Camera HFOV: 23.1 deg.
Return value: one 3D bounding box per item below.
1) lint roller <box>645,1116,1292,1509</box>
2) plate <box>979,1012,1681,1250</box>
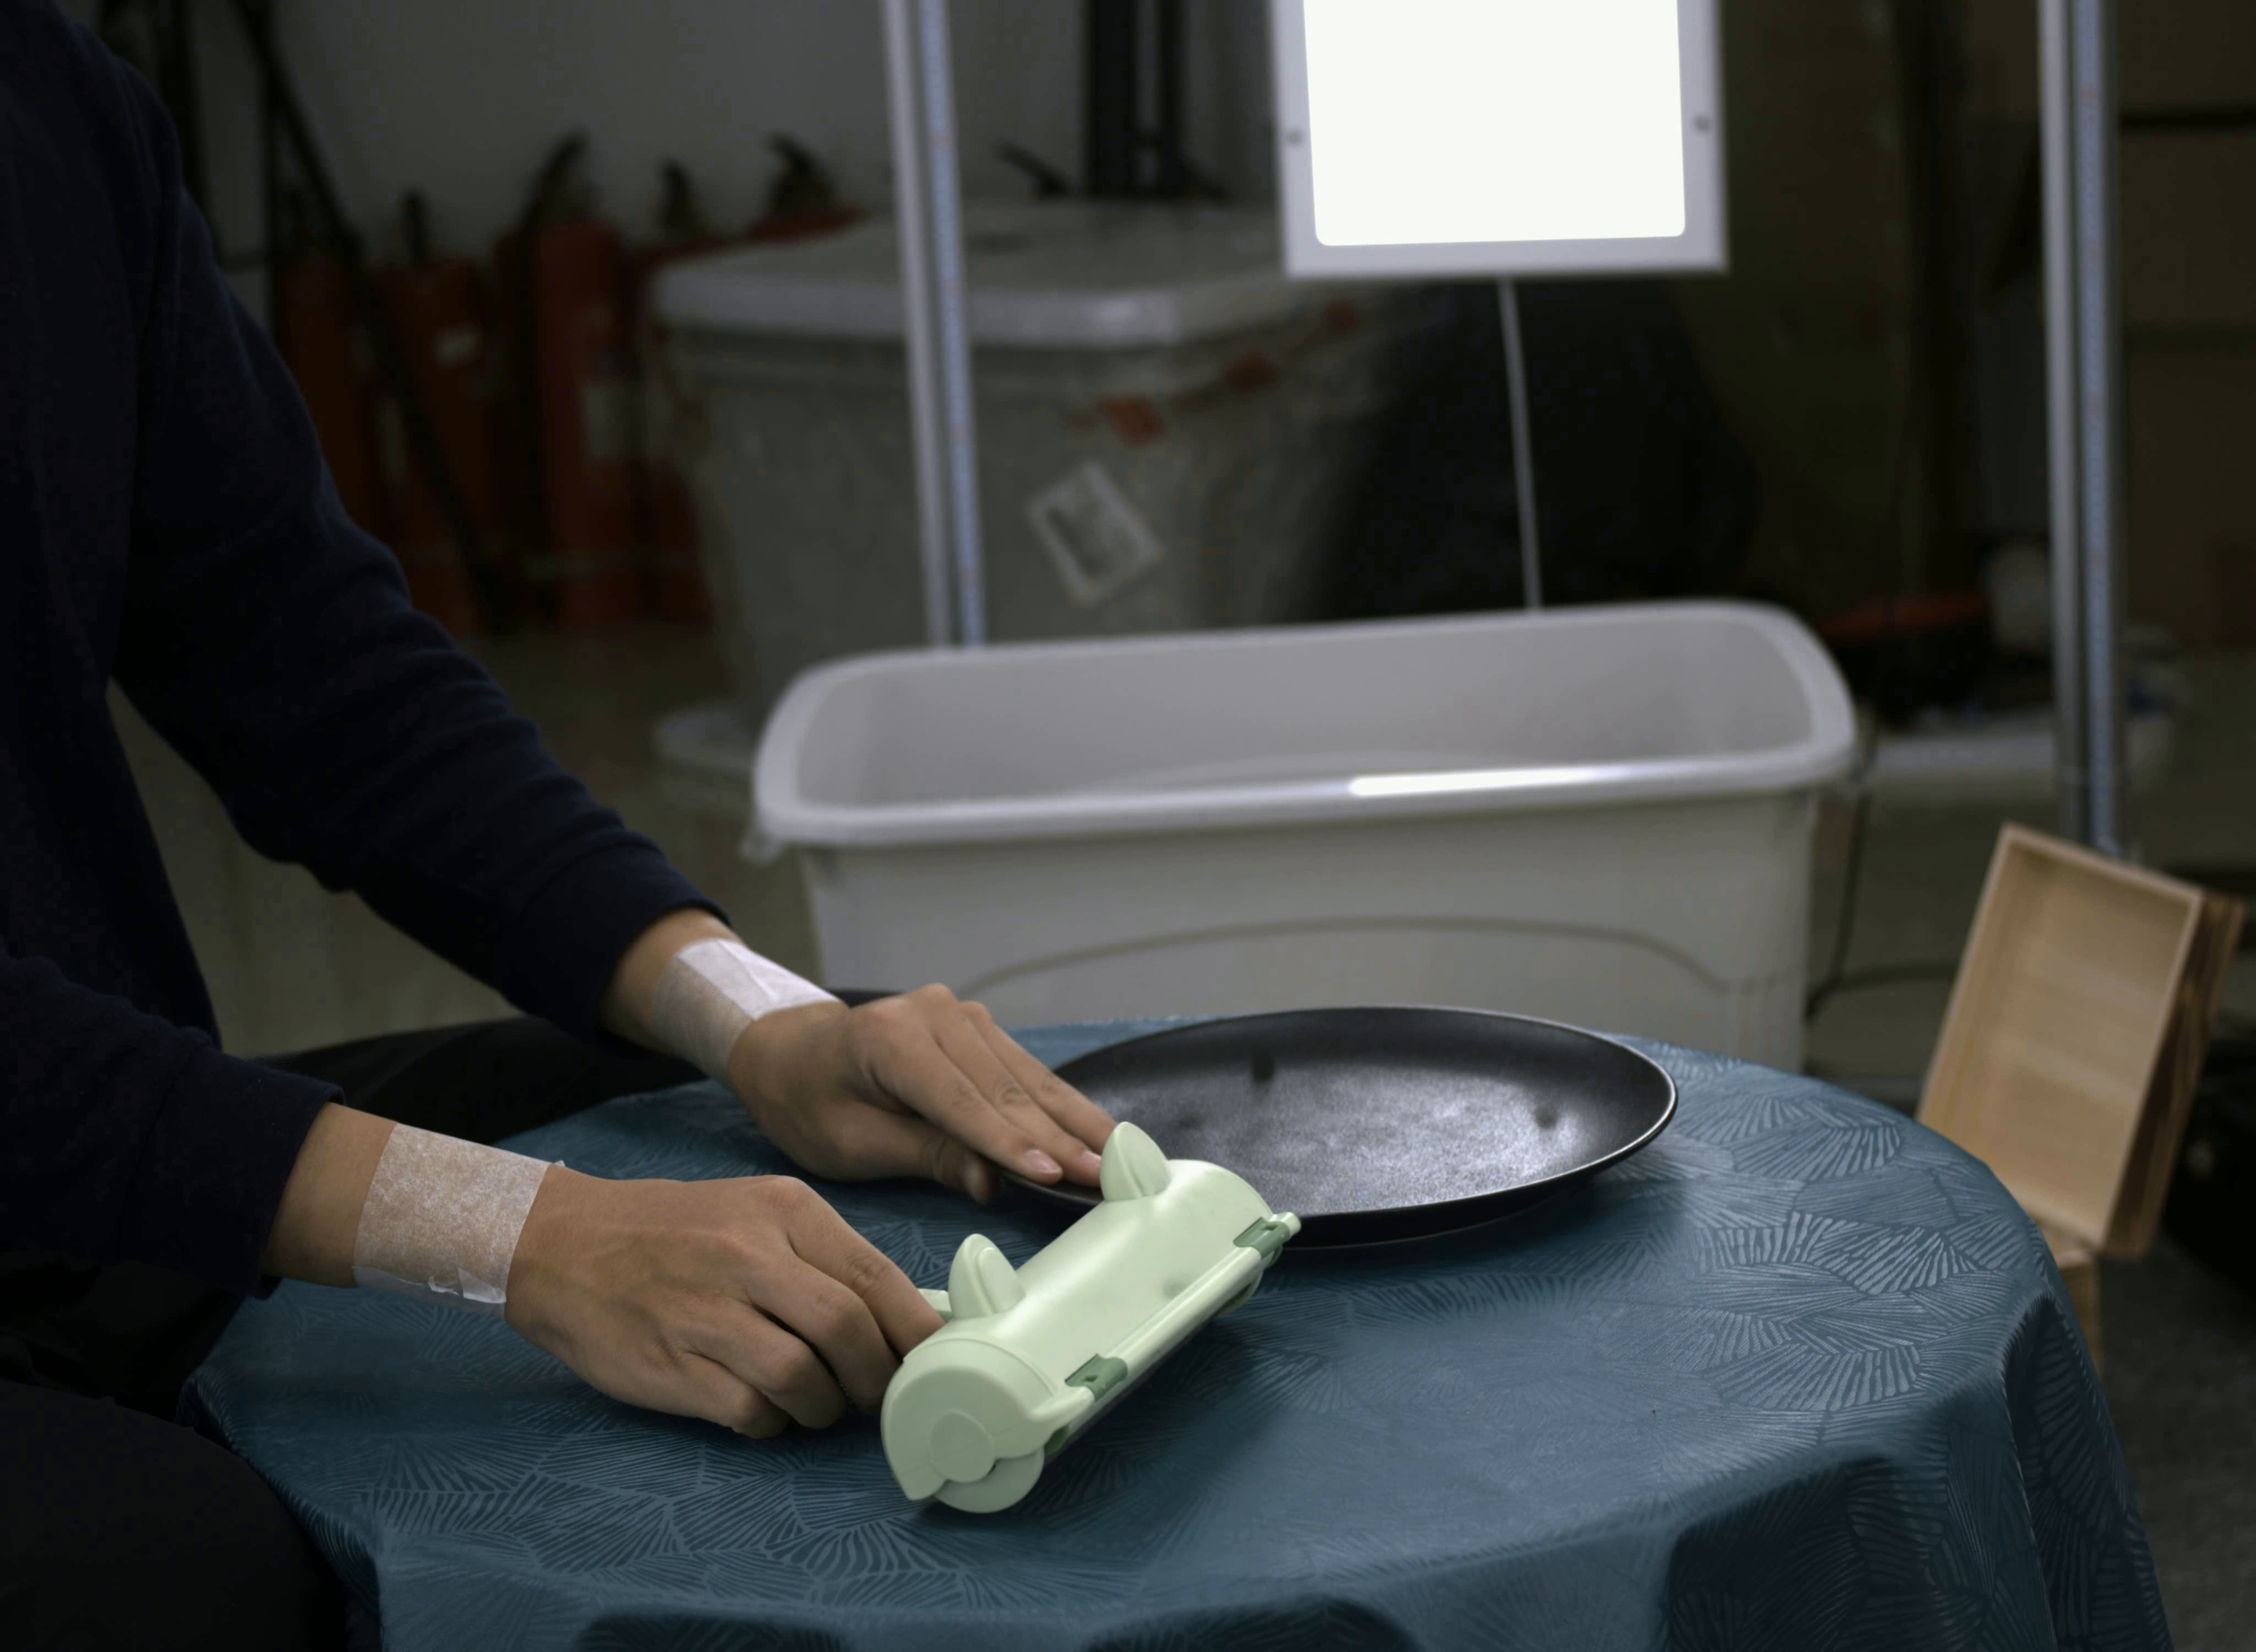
[{"bbox_3d":[-0.065,0.138,1.694,0.186,0.082,0.195,8,16,22],"label":"lint roller"},{"bbox_3d":[0.070,0.107,1.901,0.244,0.023,0.244,-5,14,0],"label":"plate"}]
